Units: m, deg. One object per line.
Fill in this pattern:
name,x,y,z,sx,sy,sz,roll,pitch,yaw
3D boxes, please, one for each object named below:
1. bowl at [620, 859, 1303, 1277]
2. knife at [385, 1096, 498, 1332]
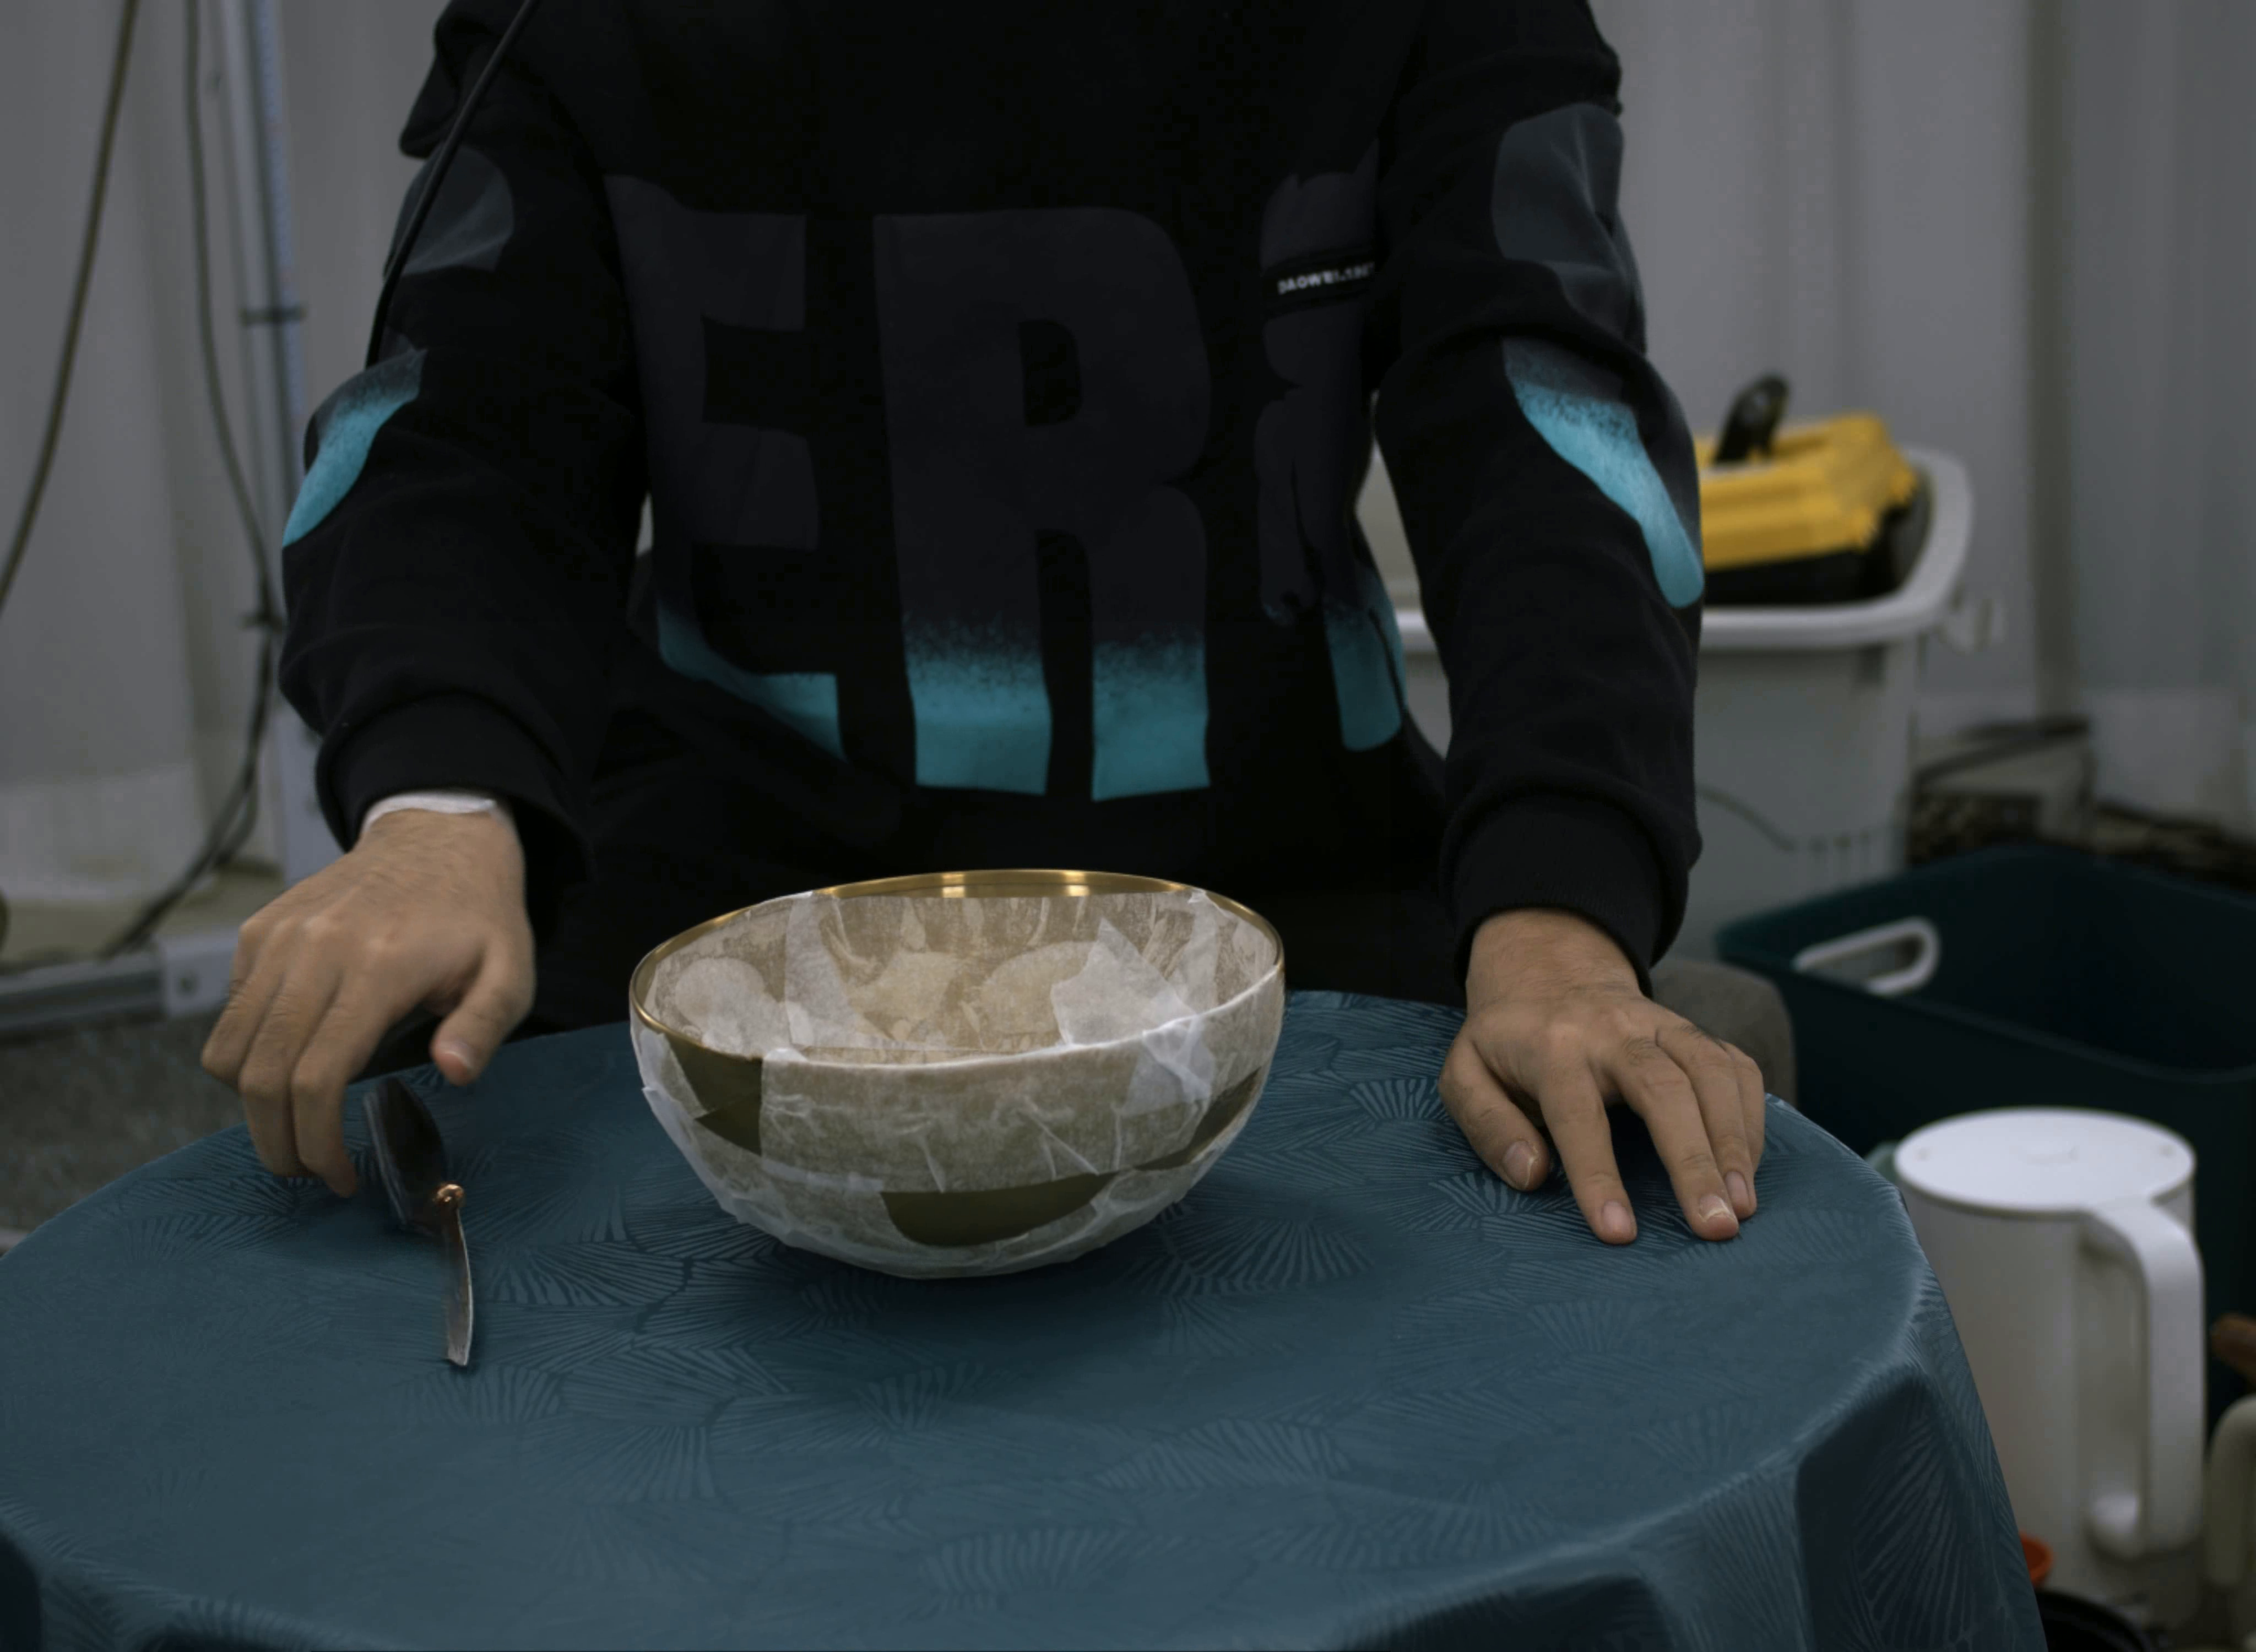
bowl,-0.048,0.081,1.667,0.214,0.094,0.216,-4,15,1
knife,-0.212,0.122,1.687,0.026,0.017,0.227,-43,18,1
